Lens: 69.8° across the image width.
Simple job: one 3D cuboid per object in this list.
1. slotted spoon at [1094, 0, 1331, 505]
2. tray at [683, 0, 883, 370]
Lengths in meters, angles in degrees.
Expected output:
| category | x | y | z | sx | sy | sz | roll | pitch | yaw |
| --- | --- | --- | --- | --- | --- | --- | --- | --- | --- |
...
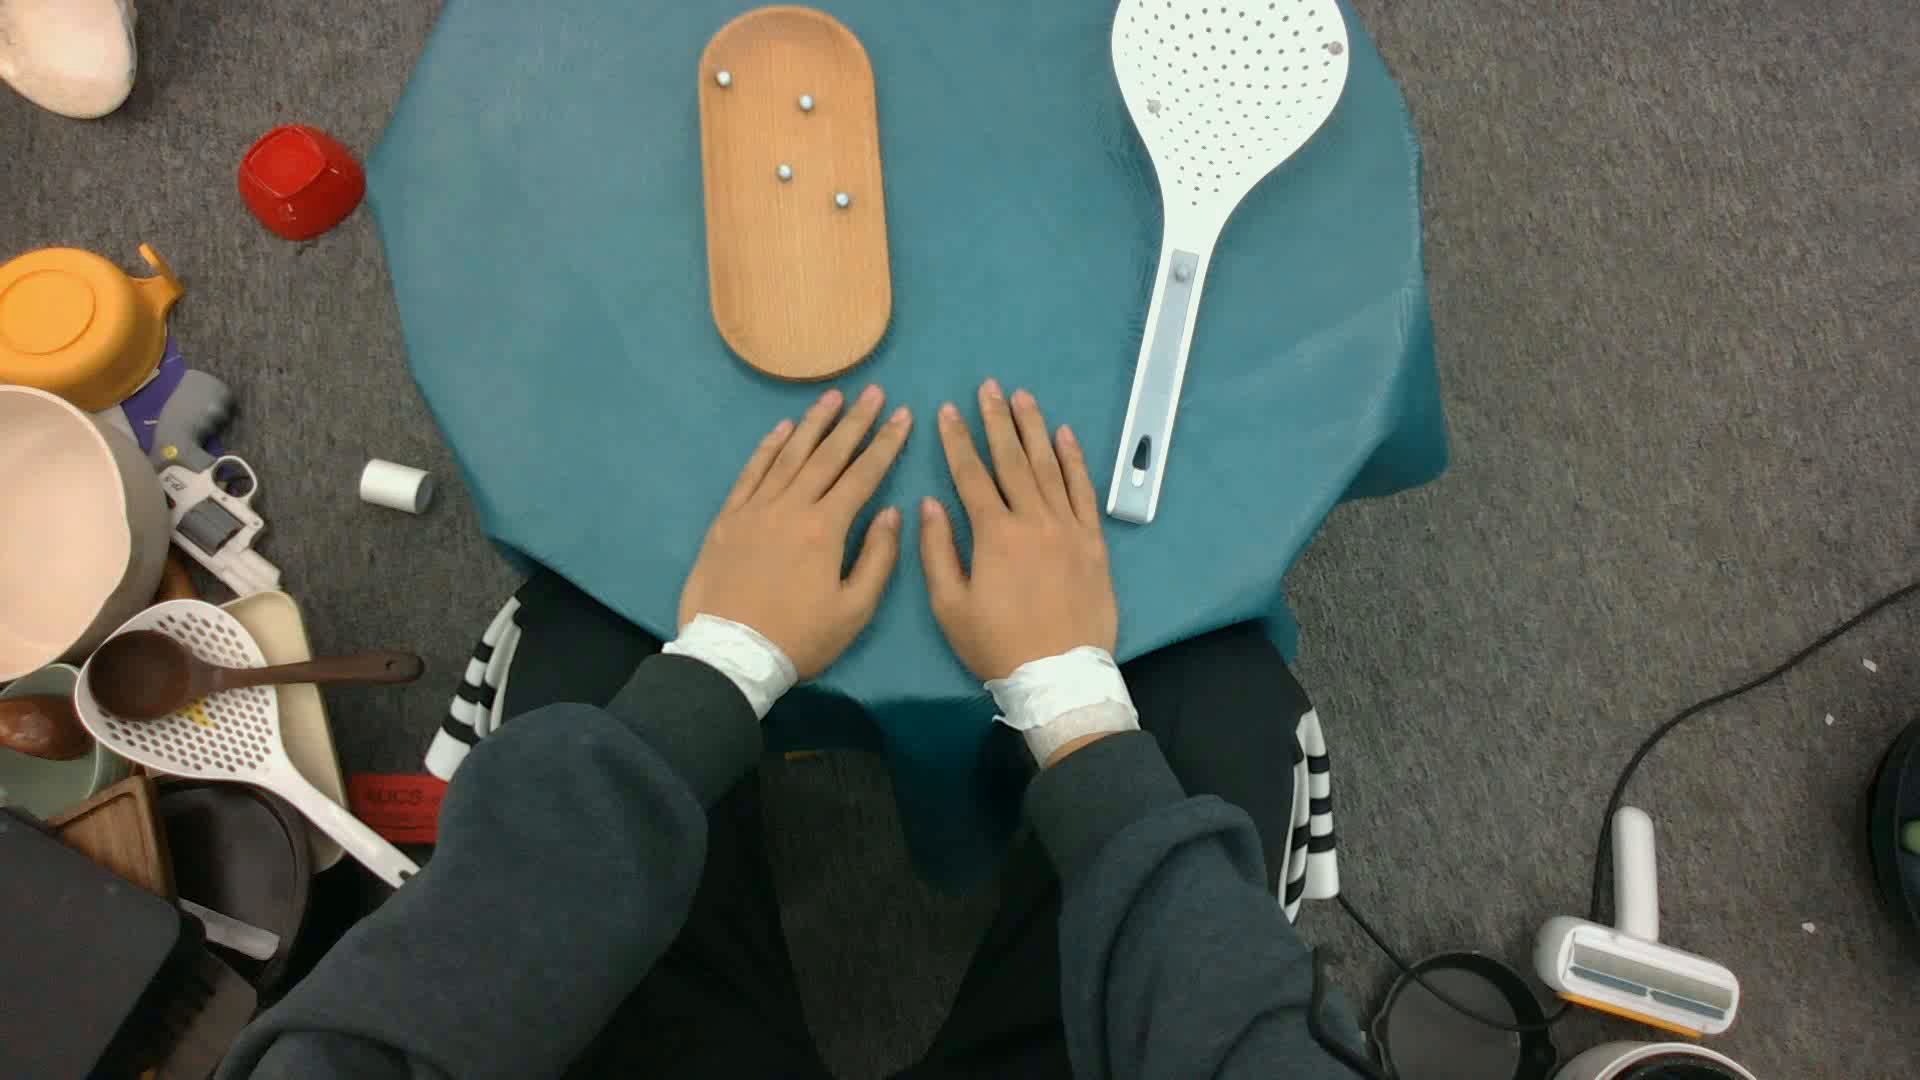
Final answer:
| category | x | y | z | sx | sy | sz | roll | pitch | yaw |
| --- | --- | --- | --- | --- | --- | --- | --- | --- | --- |
| slotted spoon | 0.124 | -0.189 | 0.785 | 0.136 | 0.045 | 0.350 | 13 | 76 | 0 |
| tray | -0.101 | -0.205 | 0.782 | 0.102 | 0.020 | 0.231 | -6 | 77 | -6 |
